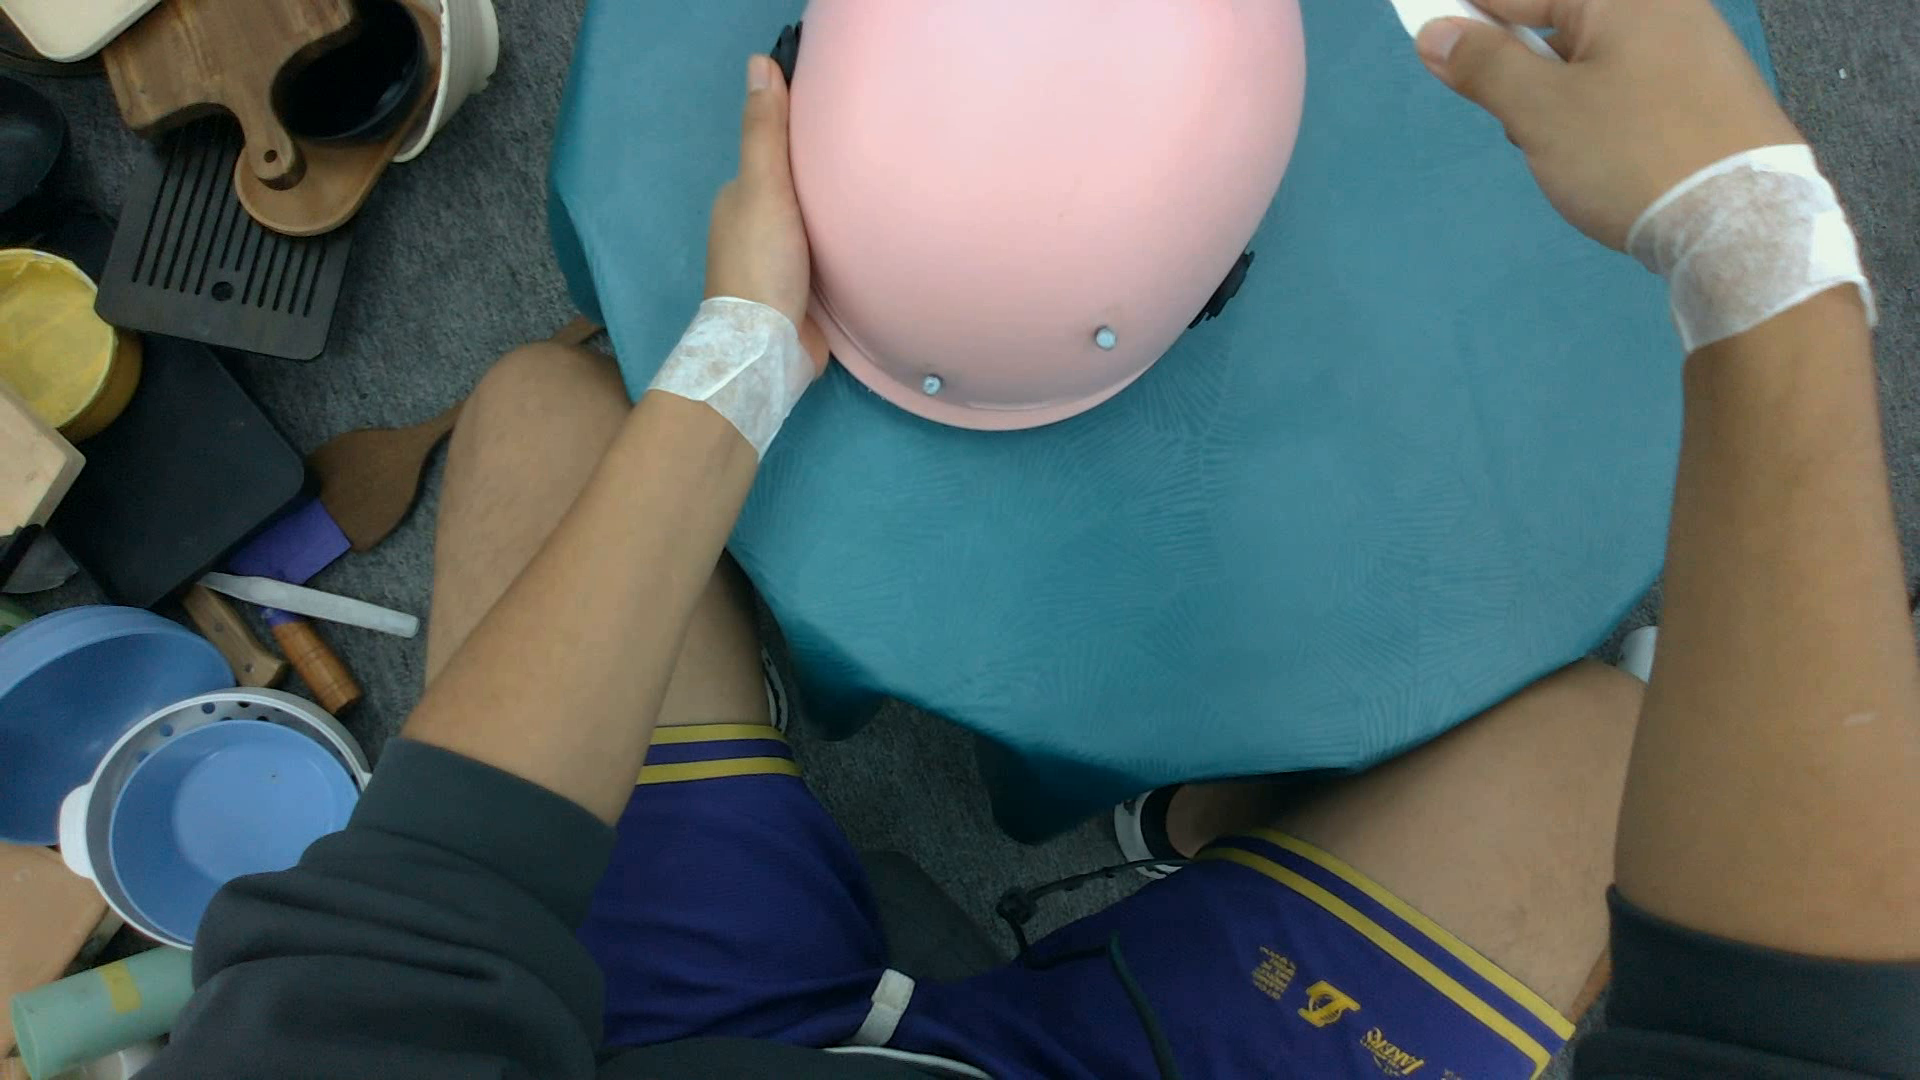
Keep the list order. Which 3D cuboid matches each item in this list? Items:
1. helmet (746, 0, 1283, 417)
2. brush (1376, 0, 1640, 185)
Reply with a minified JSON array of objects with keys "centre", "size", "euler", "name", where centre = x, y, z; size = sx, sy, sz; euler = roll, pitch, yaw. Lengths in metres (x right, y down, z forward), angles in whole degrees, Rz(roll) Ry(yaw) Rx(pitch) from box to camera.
[{"centre":[0.030,-0.186,0.578],"size":[0.234,0.159,0.266],"euler":[22,88,-10],"name":"helmet"},{"centre":[0.132,-0.194,0.473],"size":[0.034,0.050,0.244],"euler":[-22,67,-32],"name":"brush"}]
